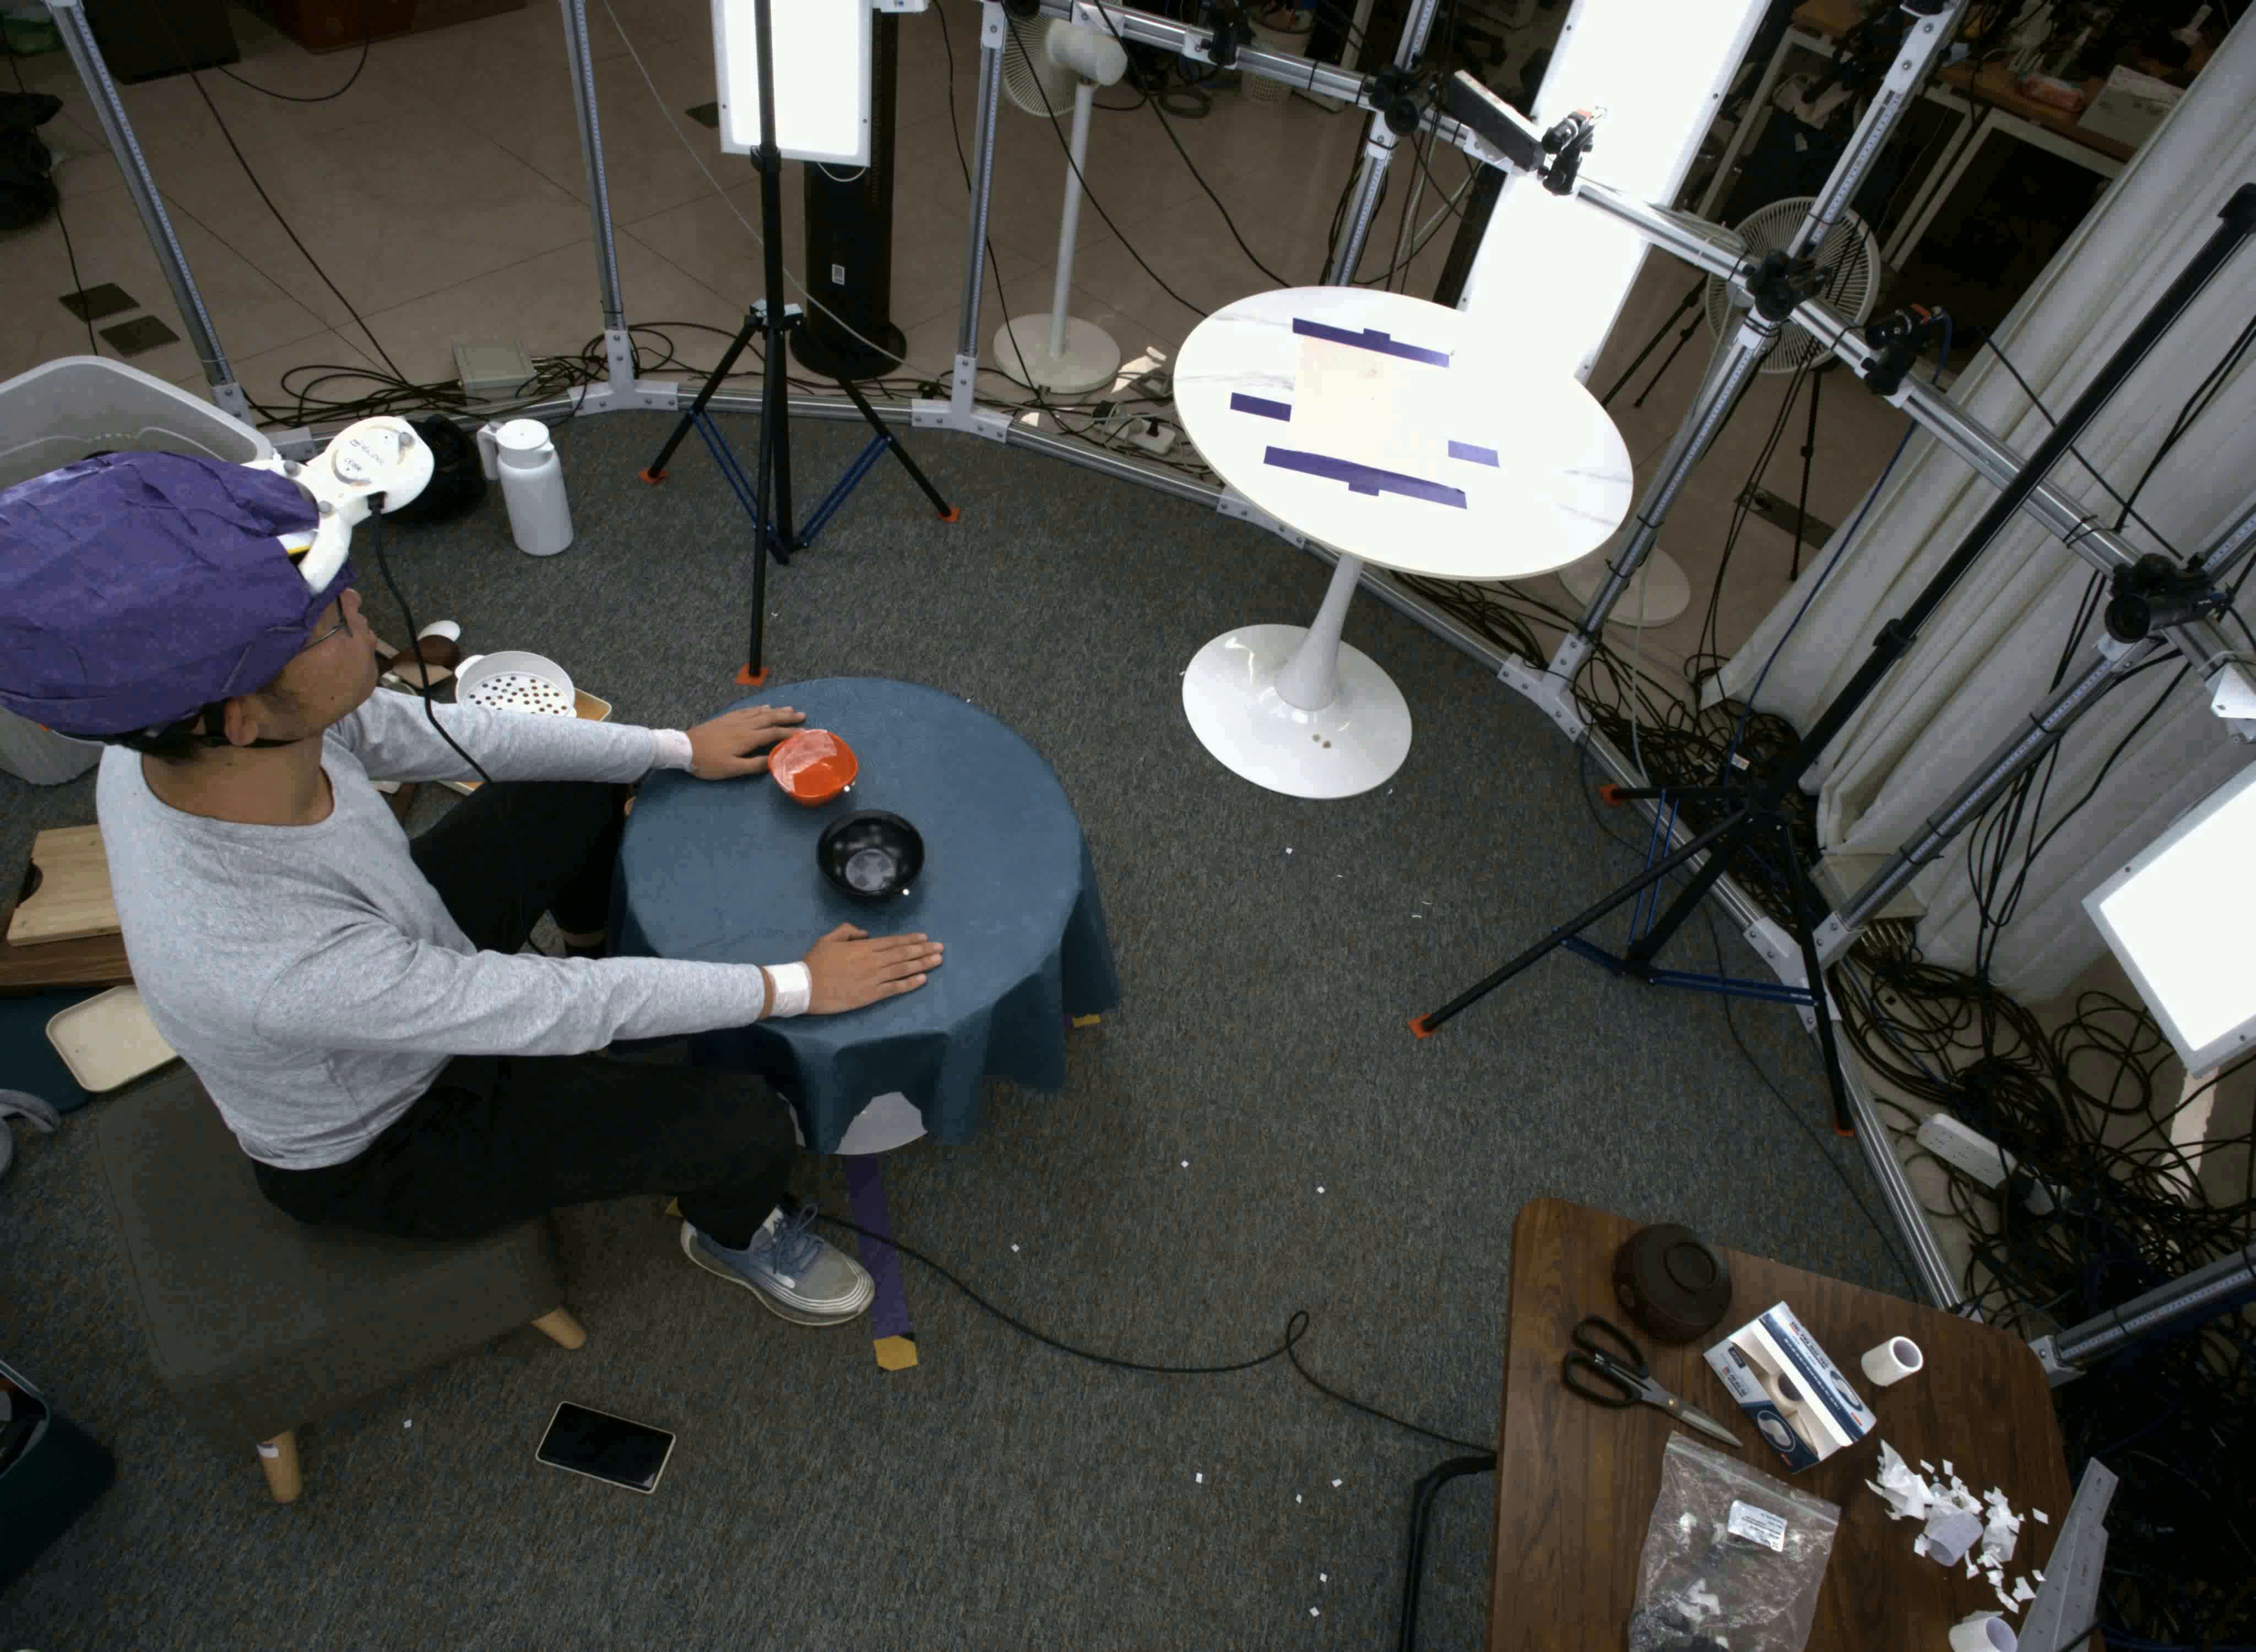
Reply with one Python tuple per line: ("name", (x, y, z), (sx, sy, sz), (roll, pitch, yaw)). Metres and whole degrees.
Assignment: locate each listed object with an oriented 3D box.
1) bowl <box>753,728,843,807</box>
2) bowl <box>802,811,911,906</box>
("bowl", (-0.445, -0.071, 1.748), (0.119, 0.052, 0.117), (9, 52, -10))
("bowl", (-0.351, 0.049, 1.688), (0.139, 0.051, 0.137), (6, 54, -6))
